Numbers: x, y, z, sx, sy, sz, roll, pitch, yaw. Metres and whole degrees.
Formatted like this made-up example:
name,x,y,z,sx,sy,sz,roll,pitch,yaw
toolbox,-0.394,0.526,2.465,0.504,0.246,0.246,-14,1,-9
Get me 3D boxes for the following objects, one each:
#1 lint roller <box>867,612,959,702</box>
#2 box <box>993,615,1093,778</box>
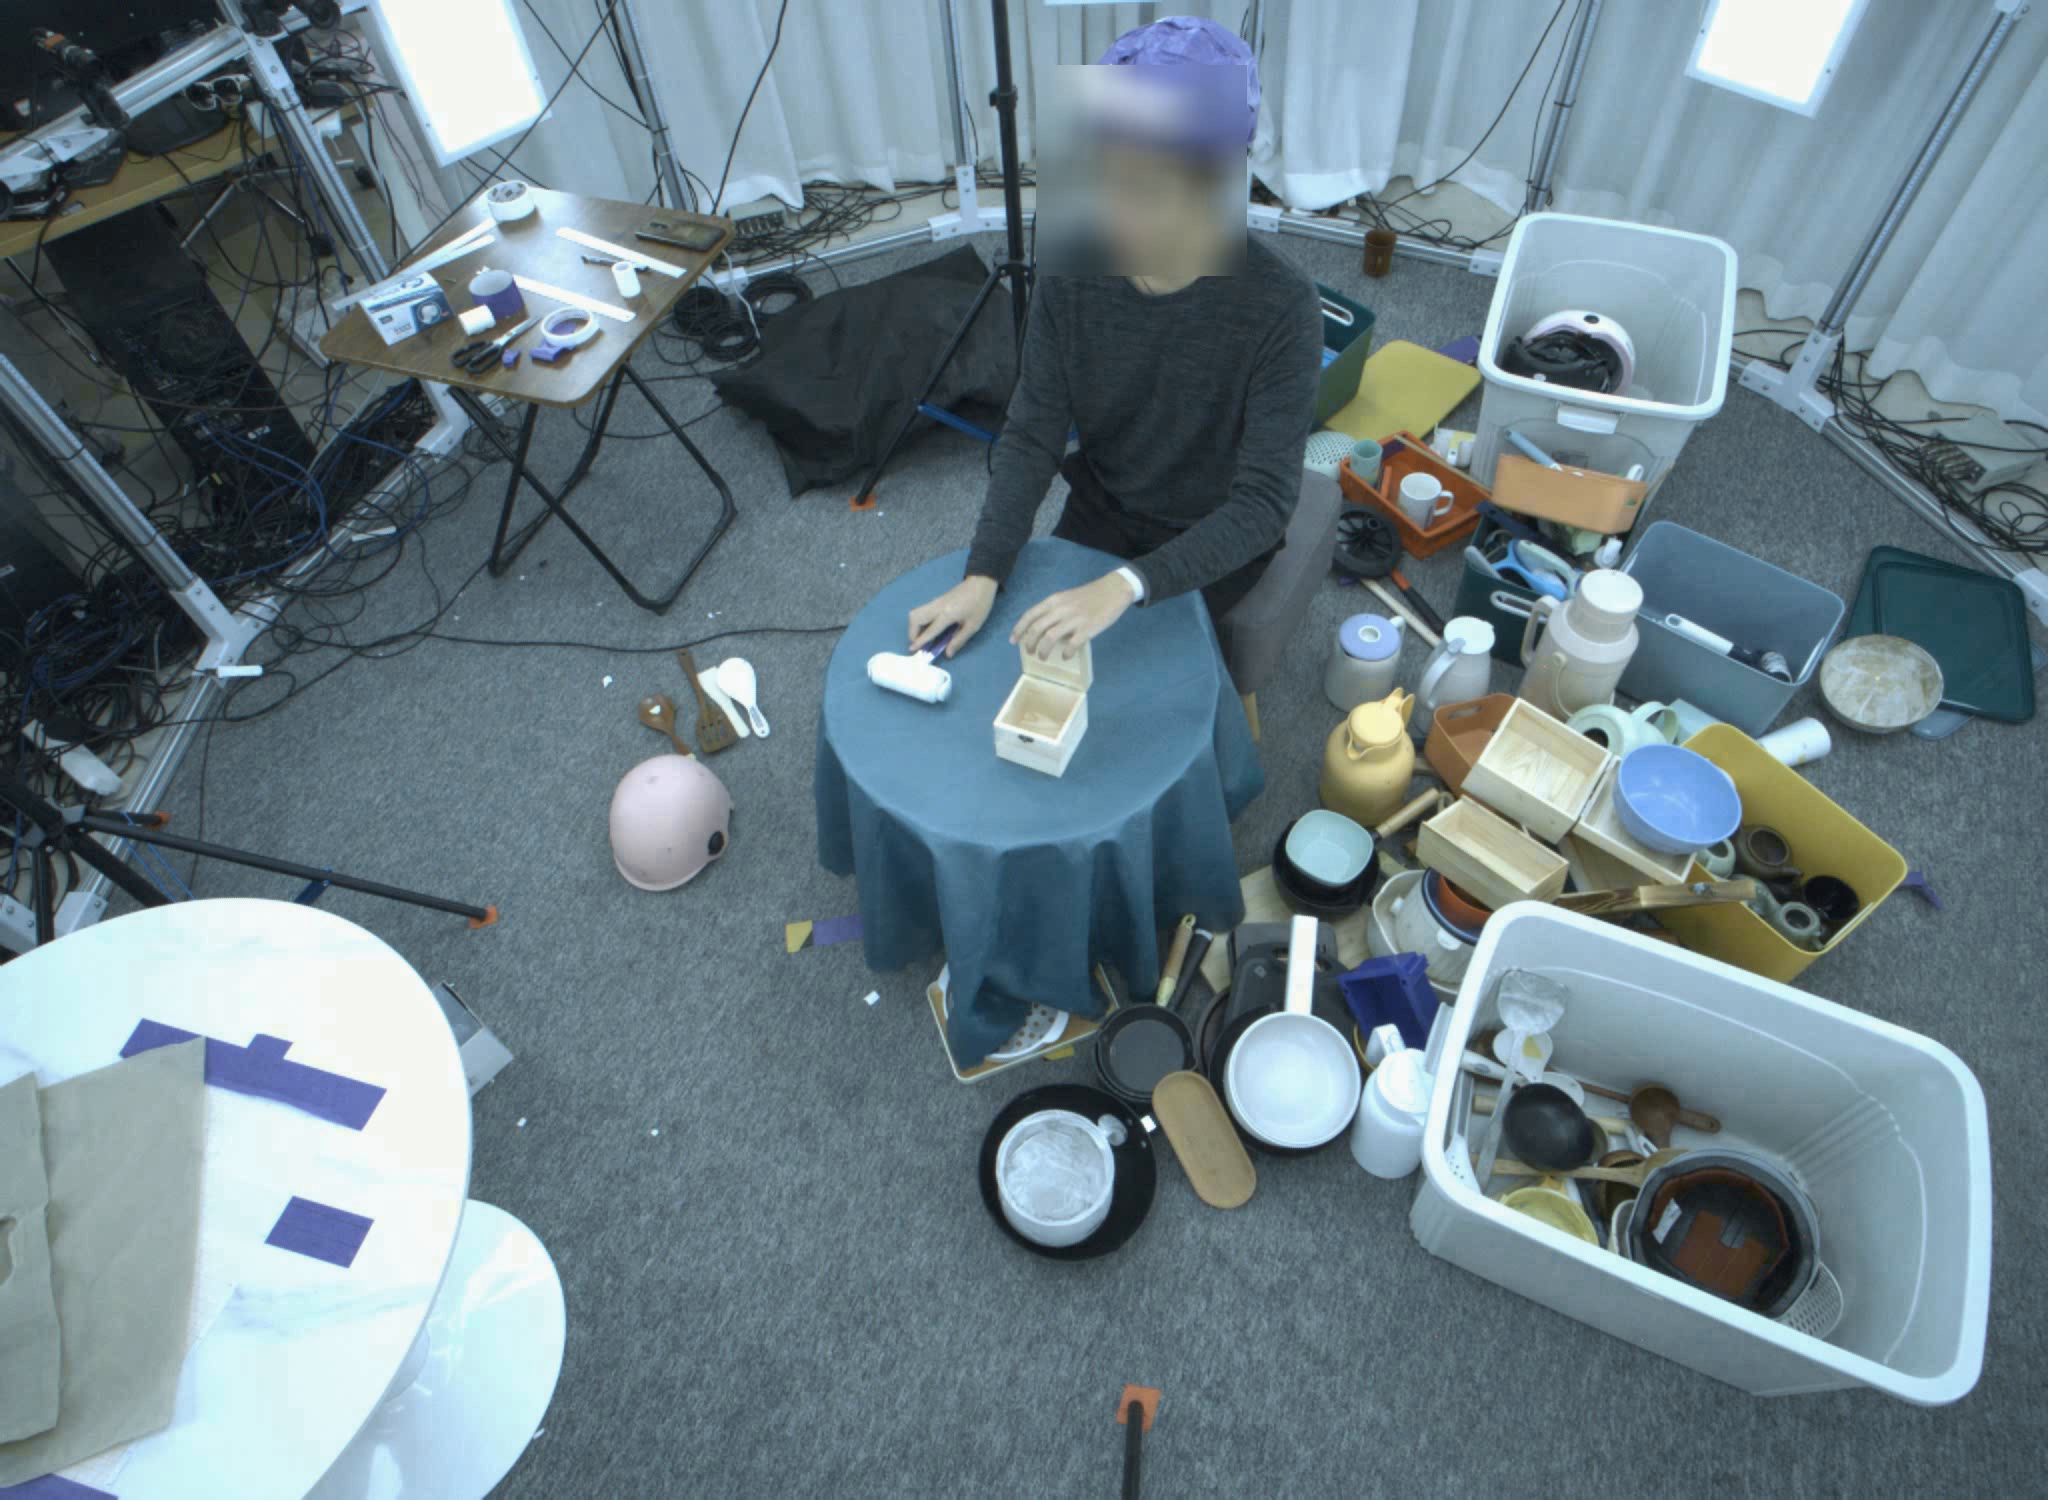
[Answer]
name,x,y,z,sx,sy,sz,roll,pitch,yaw
lint roller,-0.146,-0.157,1.874,0.131,0.051,0.181,20,60,17
box,0.026,-0.073,1.726,0.101,0.186,0.134,19,57,16
